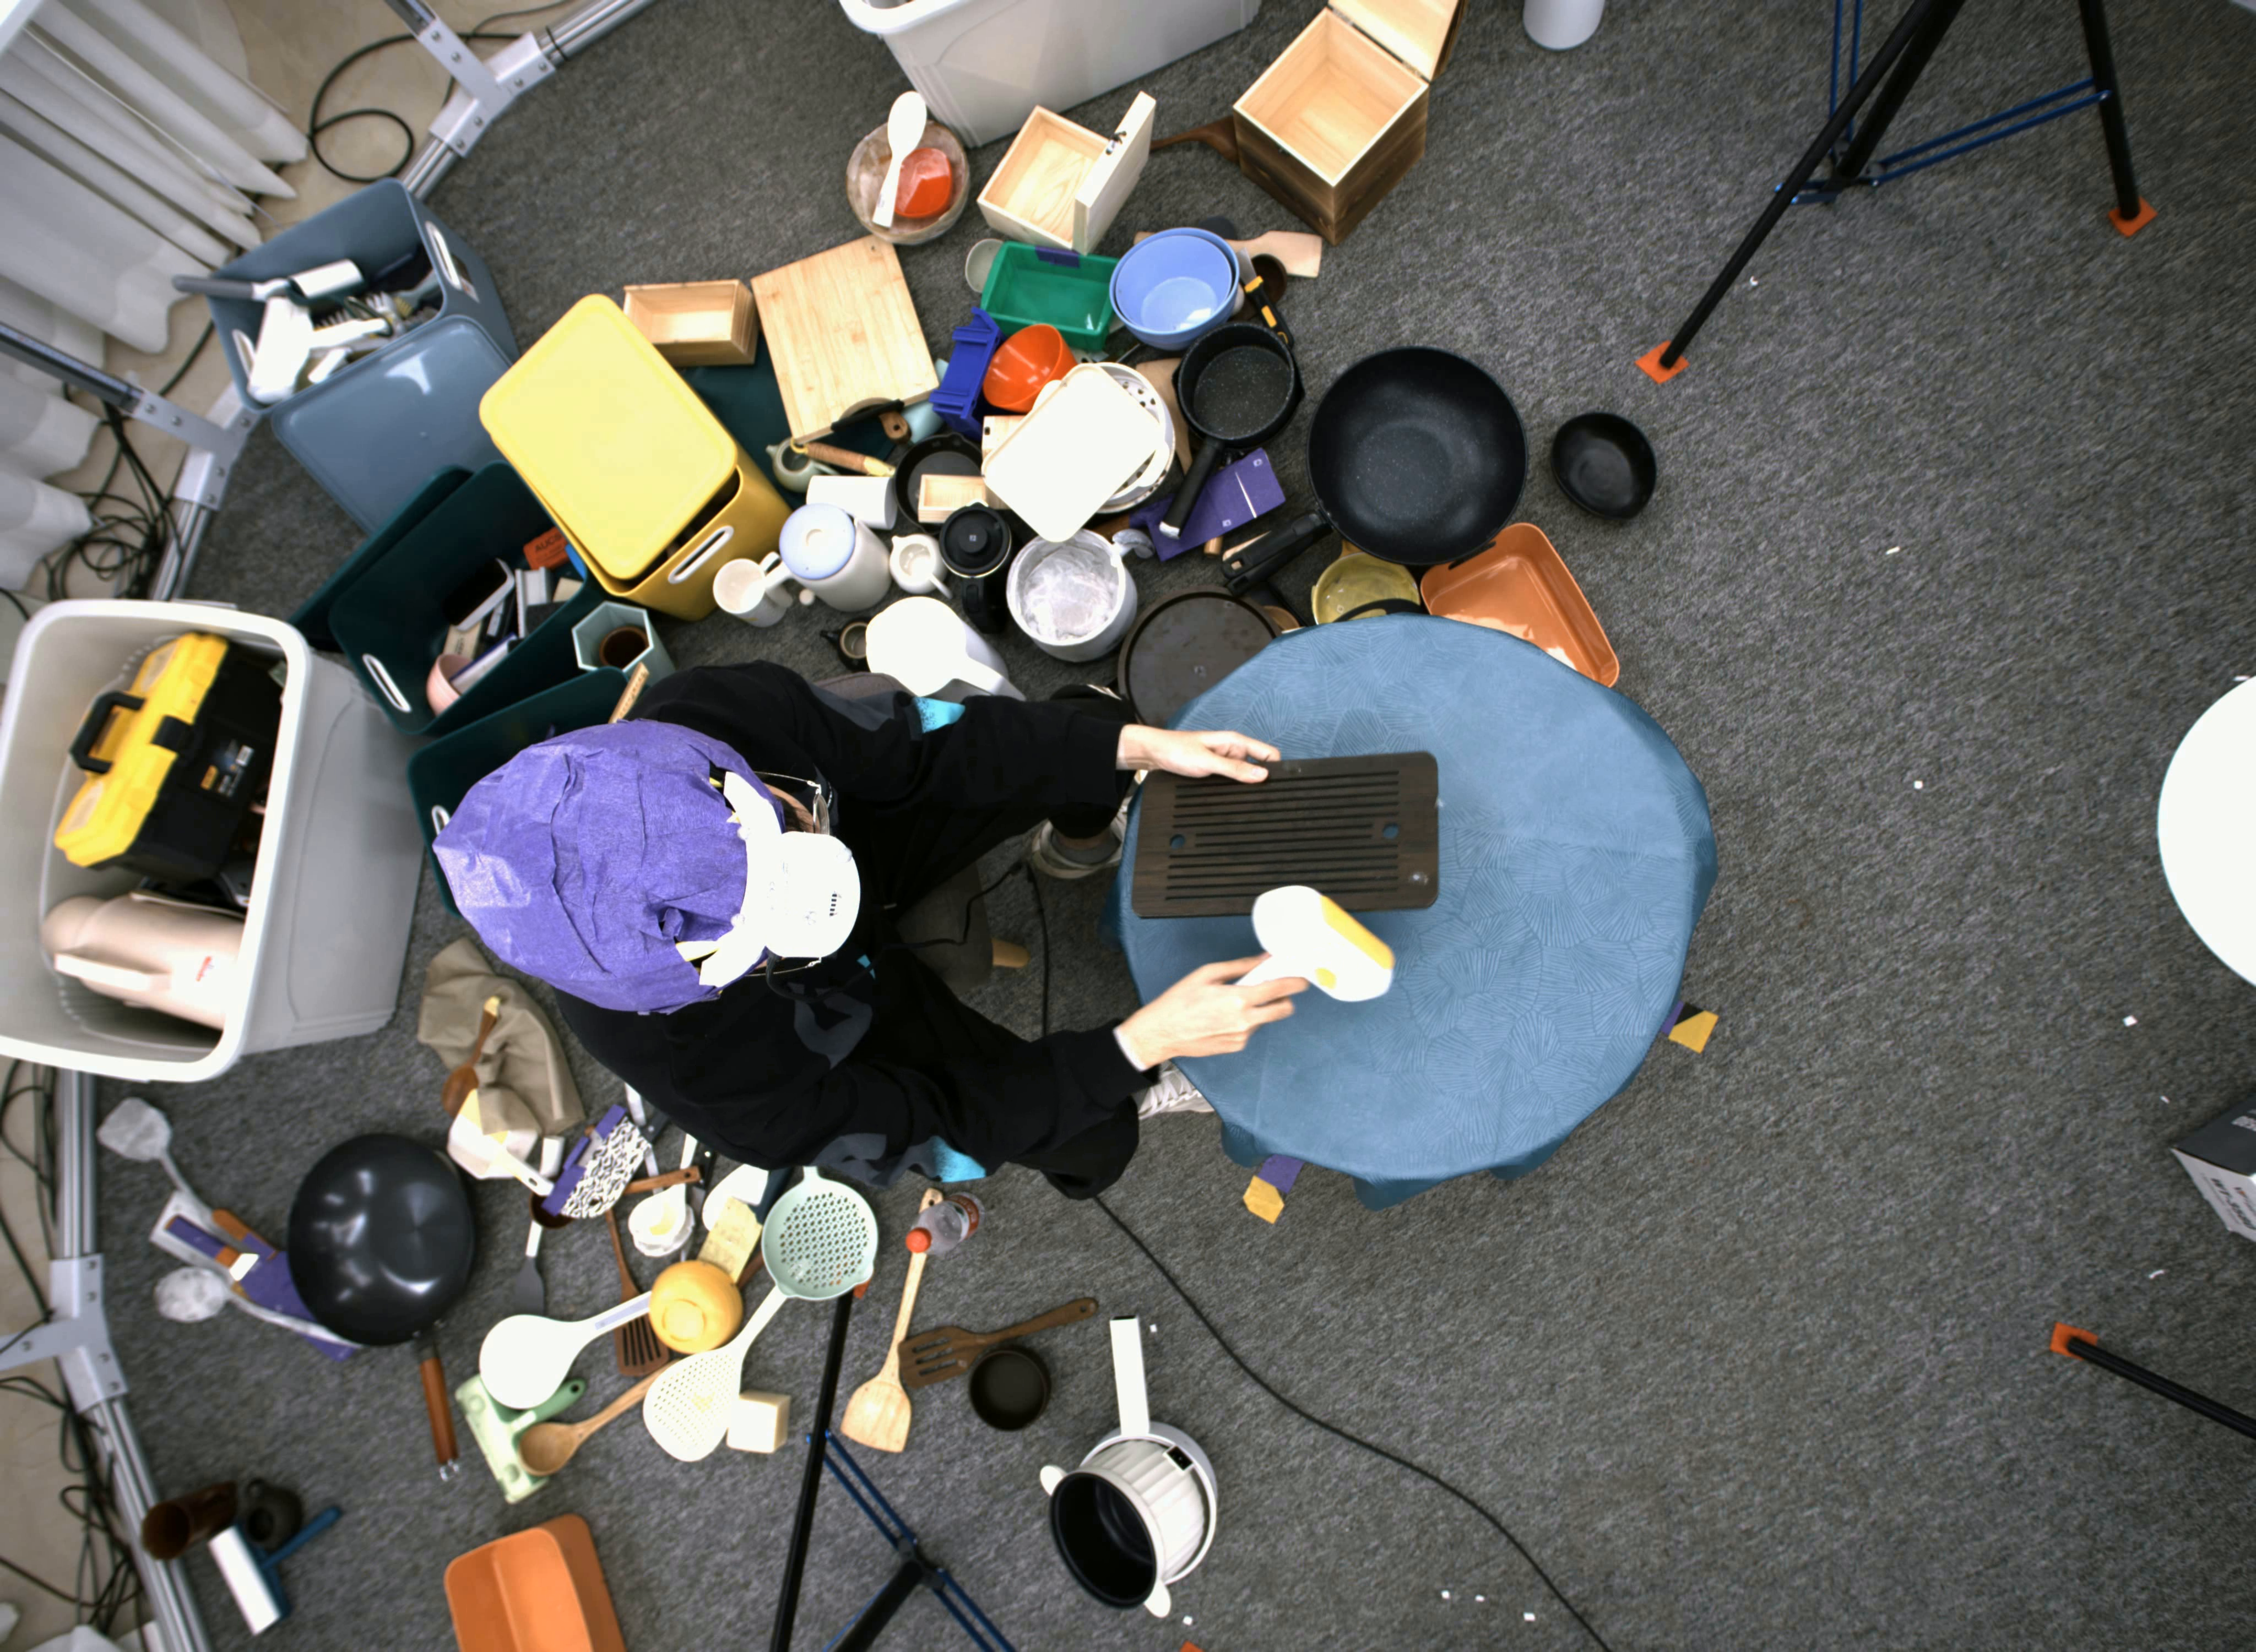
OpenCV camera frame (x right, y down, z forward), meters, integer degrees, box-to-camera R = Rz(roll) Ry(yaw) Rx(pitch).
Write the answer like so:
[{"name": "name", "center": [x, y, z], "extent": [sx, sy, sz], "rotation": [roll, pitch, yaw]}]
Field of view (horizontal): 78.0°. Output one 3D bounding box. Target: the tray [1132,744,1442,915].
[{"name": "tray", "center": [0.156, 0.005, 1.376], "extent": [0.308, 0.019, 0.166], "rotation": [-4, 64, 18]}]

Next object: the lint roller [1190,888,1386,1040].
[{"name": "lint roller", "center": [0.136, 0.144, 1.347], "extent": [0.196, 0.194, 0.072], "rotation": [-31, 54, 29]}]
